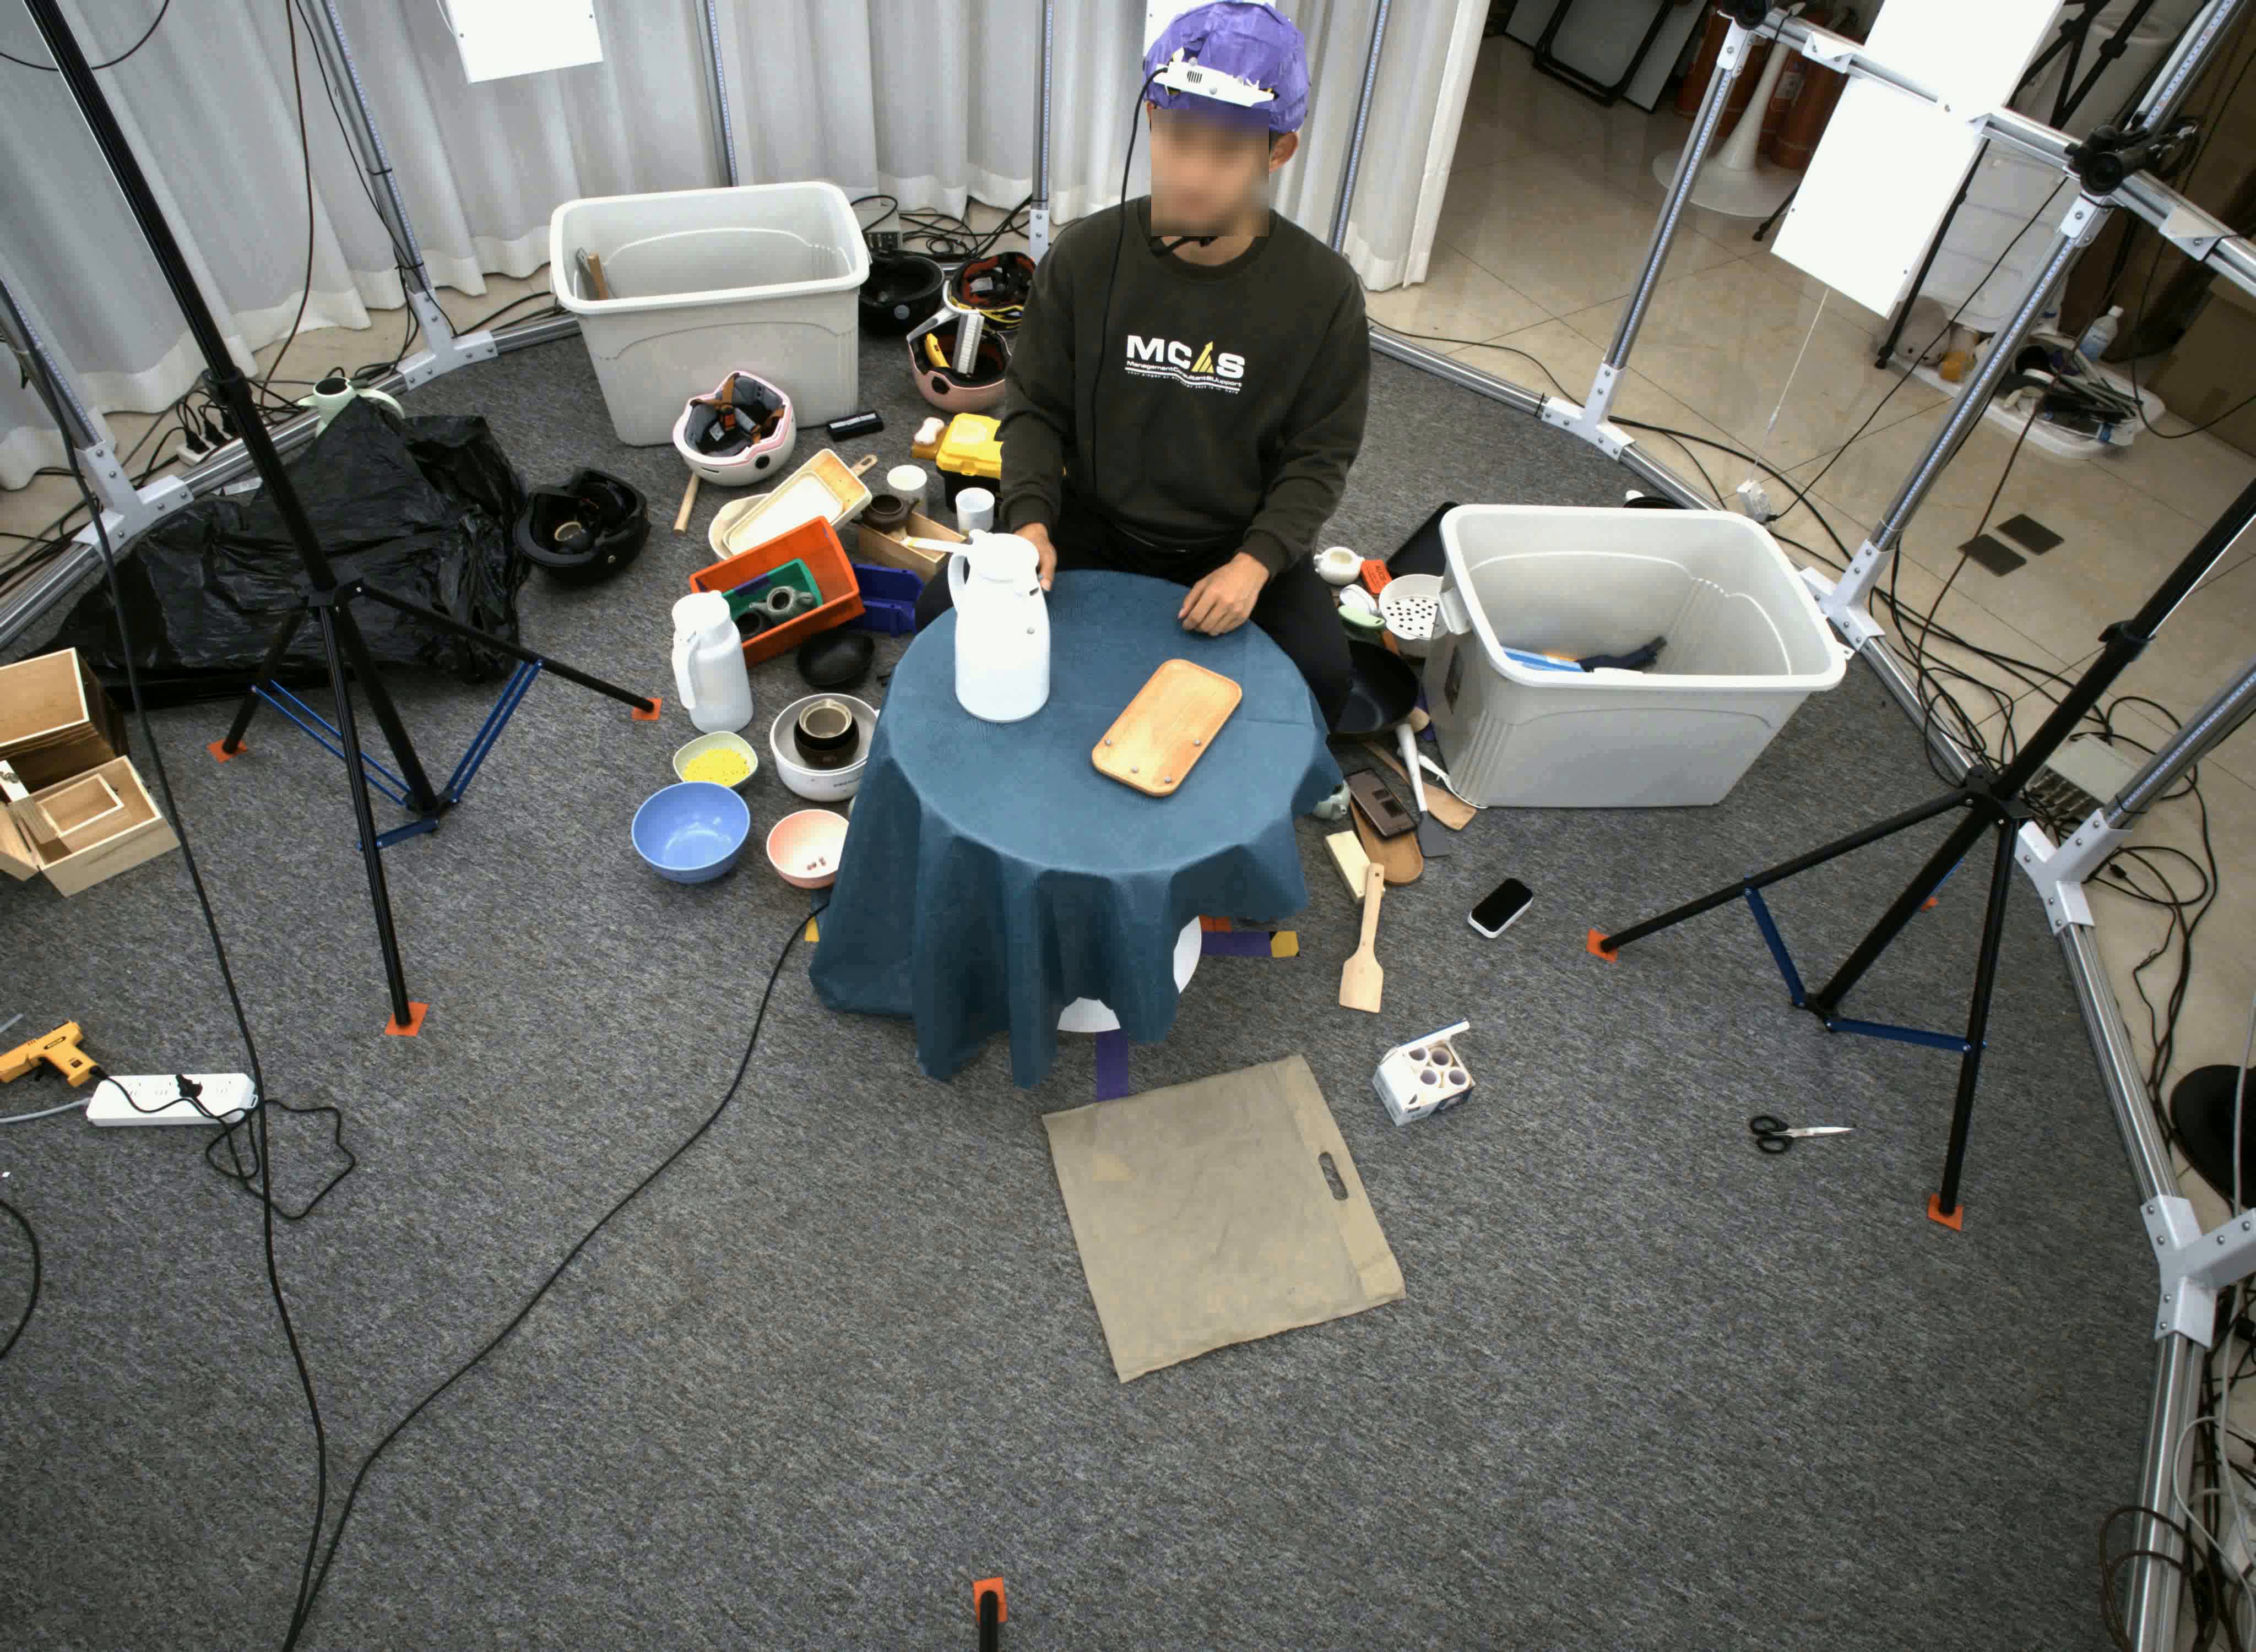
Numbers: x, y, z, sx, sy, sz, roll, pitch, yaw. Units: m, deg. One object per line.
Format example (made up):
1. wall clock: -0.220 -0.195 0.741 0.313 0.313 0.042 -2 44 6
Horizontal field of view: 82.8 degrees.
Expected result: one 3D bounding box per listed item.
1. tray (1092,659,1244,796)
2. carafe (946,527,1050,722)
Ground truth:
1. tray: 0.057 -0.140 1.780 0.131 0.022 0.254 27 51 15
2. carafe: -0.183 -0.283 1.735 0.134 0.242 0.170 -36 60 -29
